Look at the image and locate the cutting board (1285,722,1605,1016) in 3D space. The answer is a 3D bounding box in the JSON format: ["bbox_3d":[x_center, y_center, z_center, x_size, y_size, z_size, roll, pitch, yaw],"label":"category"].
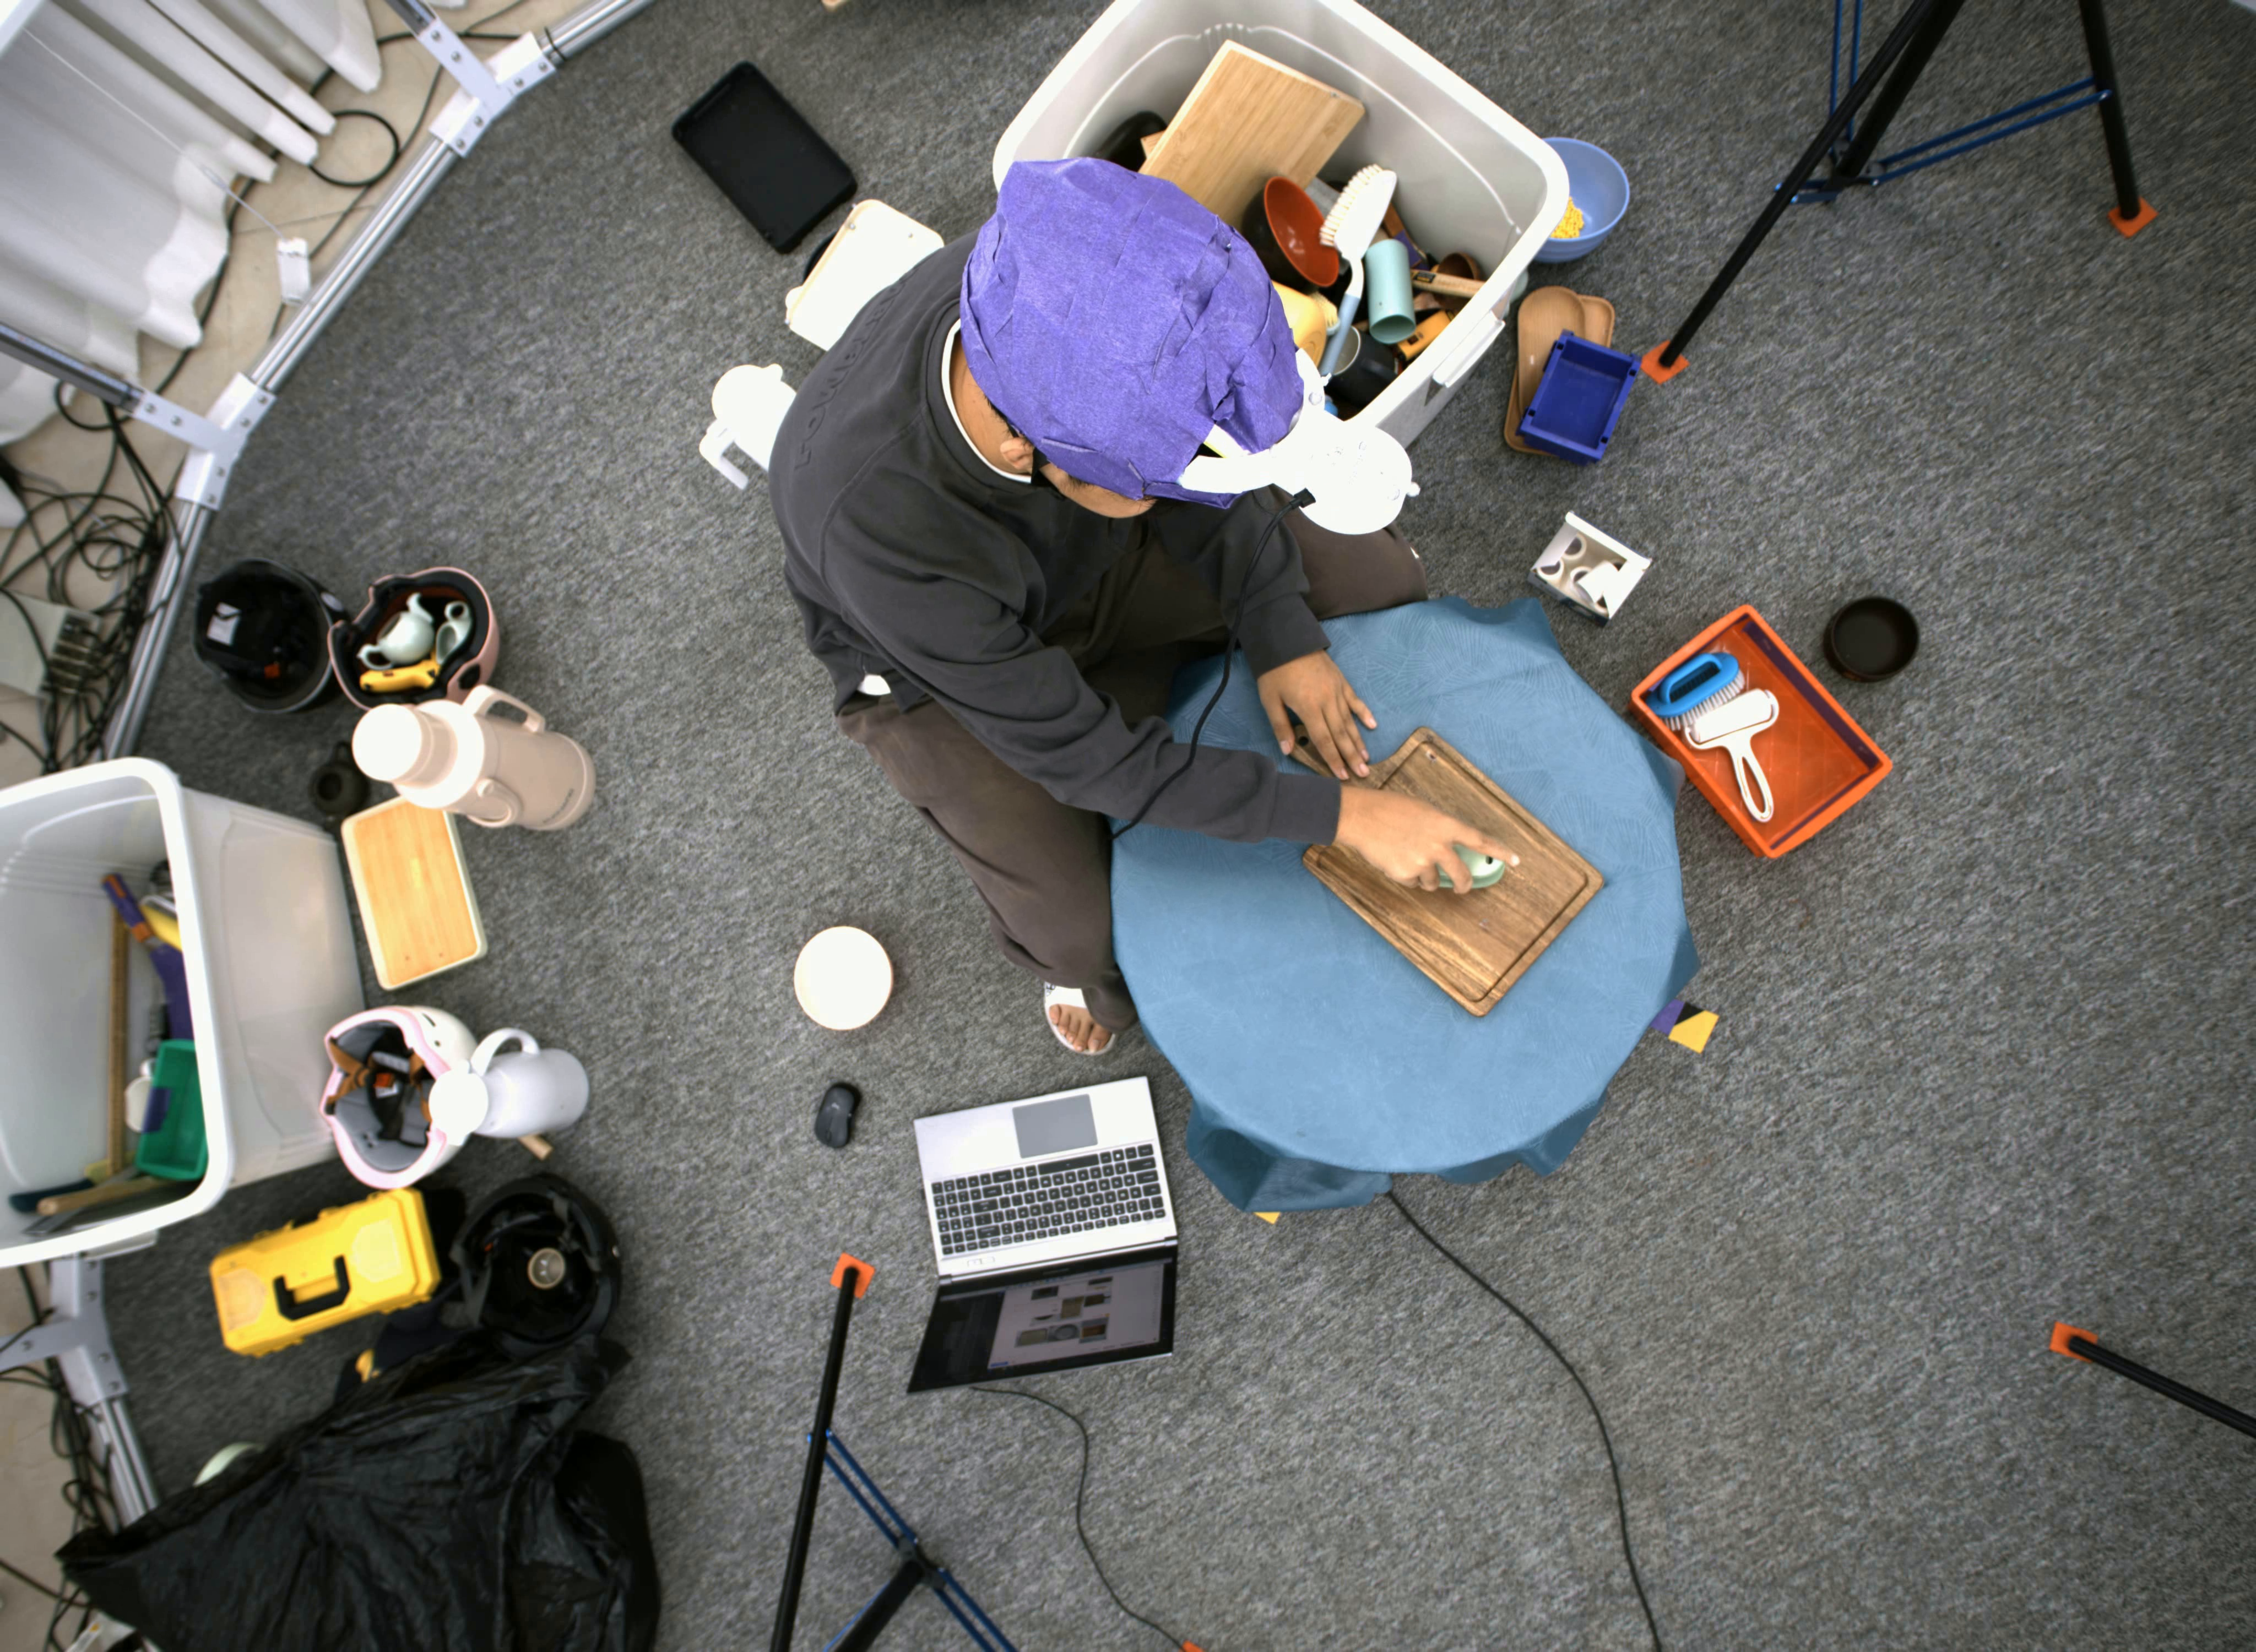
[{"bbox_3d":[0.303,0.010,1.448,0.350,0.023,0.202,43,95,11],"label":"cutting board"}]

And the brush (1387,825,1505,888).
[{"bbox_3d":[0.328,0.029,1.412,0.123,0.076,0.059,5,83,27],"label":"brush"}]
